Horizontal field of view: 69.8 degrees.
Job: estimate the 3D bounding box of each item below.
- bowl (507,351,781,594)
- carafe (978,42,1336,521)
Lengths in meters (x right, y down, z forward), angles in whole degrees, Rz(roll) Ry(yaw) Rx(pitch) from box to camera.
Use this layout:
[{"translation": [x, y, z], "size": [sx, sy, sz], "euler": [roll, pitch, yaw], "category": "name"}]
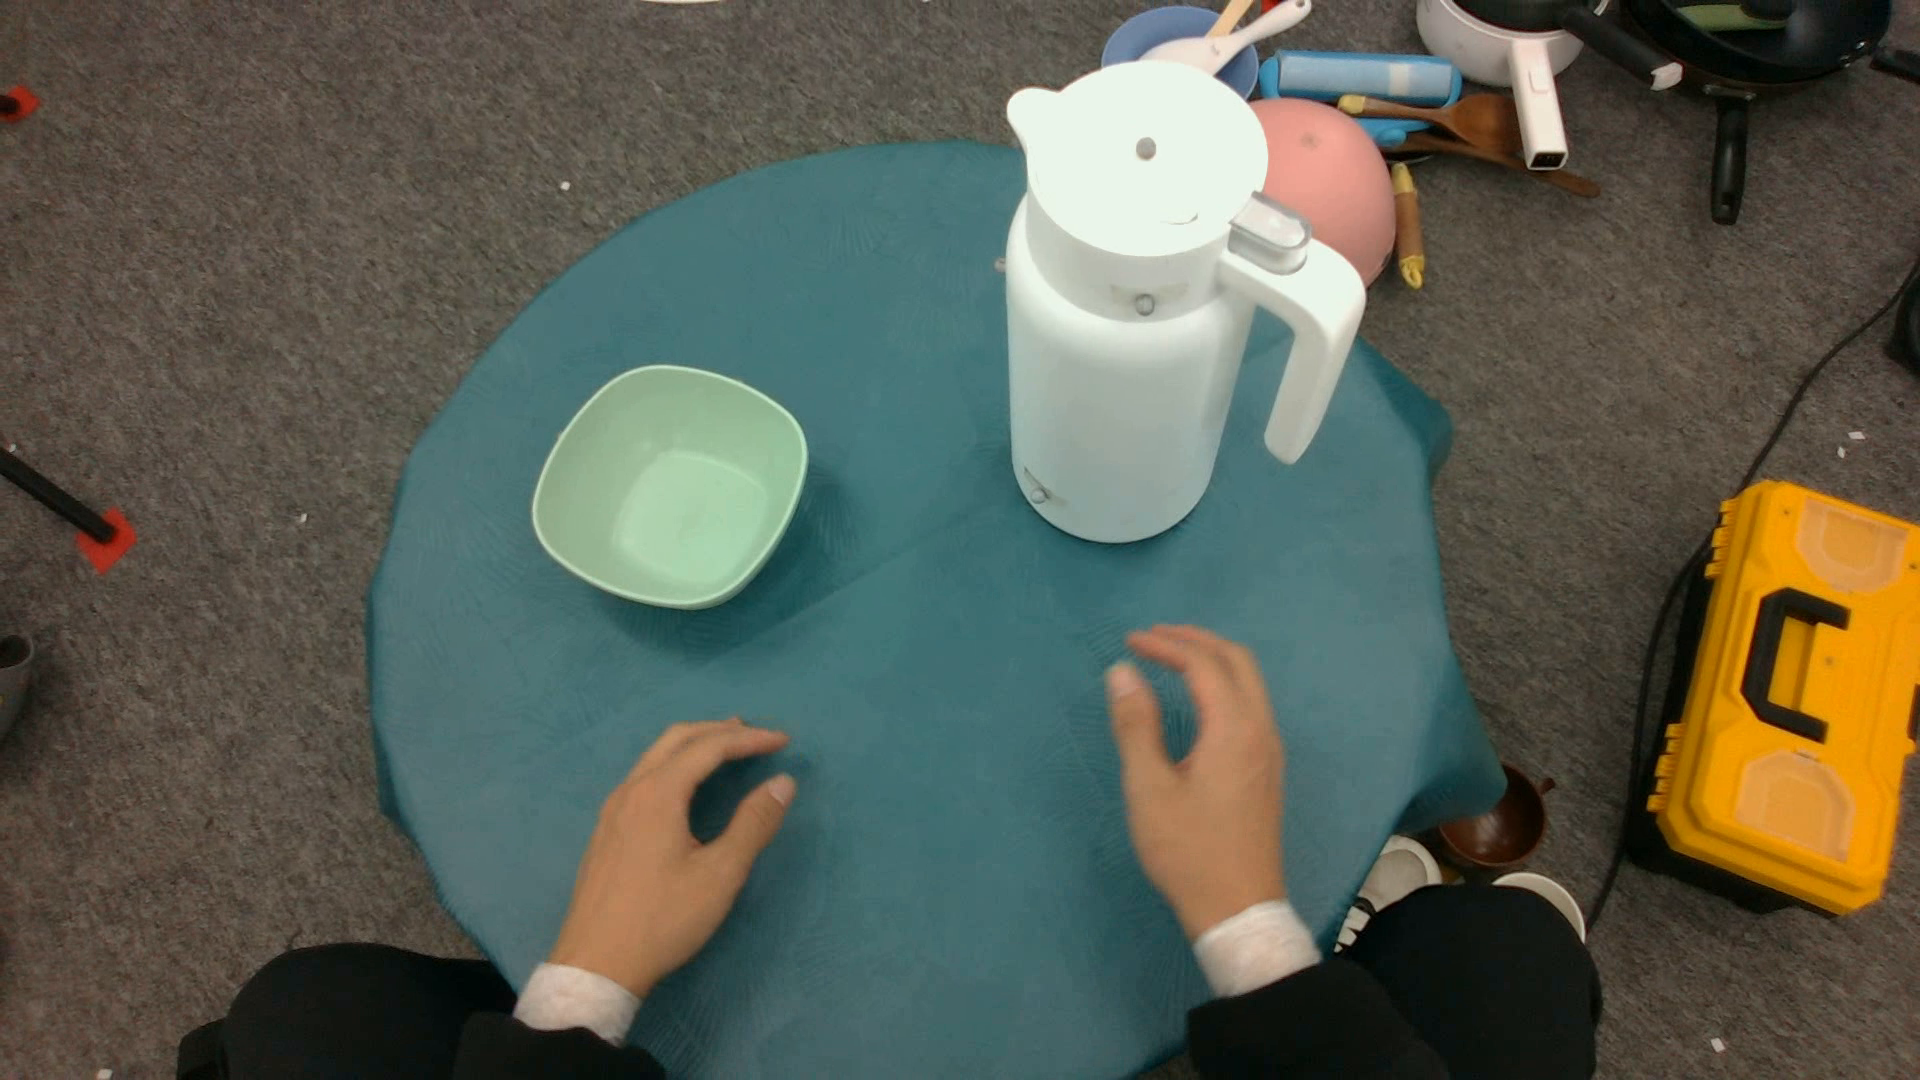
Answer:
[{"translation": [-0.169, -0.029, 0.766], "size": [0.151, 0.058, 0.152], "euler": [-1, 65, 2], "category": "bowl"}, {"translation": [0.085, -0.106, 0.679], "size": [0.173, 0.268, 0.124], "euler": [31, 69, 15], "category": "carafe"}]
